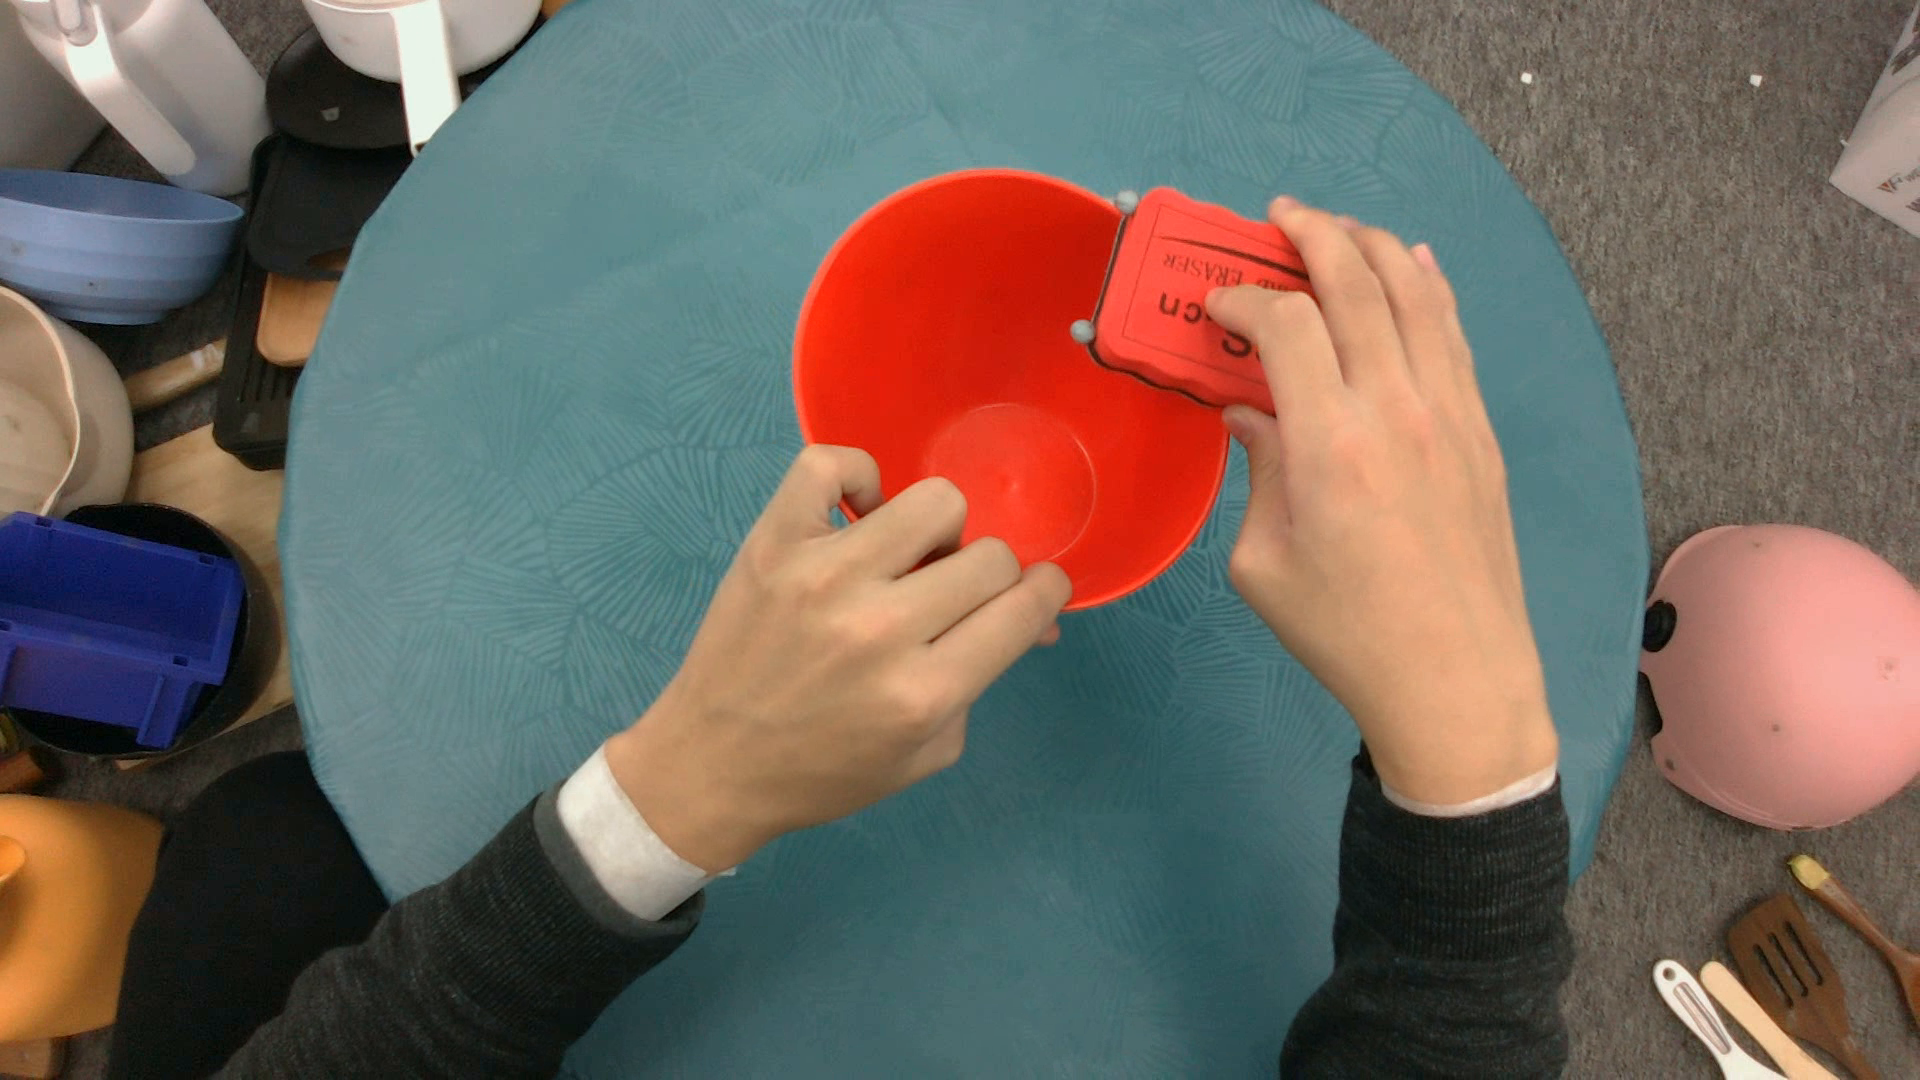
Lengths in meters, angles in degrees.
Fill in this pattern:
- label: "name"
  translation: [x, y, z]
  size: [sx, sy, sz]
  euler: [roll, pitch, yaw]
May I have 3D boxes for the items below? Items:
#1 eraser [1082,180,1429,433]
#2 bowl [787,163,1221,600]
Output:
- label: "eraser"
  translation: [0.098, -0.076, 0.455]
  size: [0.108, 0.023, 0.059]
  euler: [16, 83, -9]
- label: "bowl"
  translation: [0.012, -0.043, 0.486]
  size: [0.148, 0.104, 0.148]
  euler: [2, 74, -9]
